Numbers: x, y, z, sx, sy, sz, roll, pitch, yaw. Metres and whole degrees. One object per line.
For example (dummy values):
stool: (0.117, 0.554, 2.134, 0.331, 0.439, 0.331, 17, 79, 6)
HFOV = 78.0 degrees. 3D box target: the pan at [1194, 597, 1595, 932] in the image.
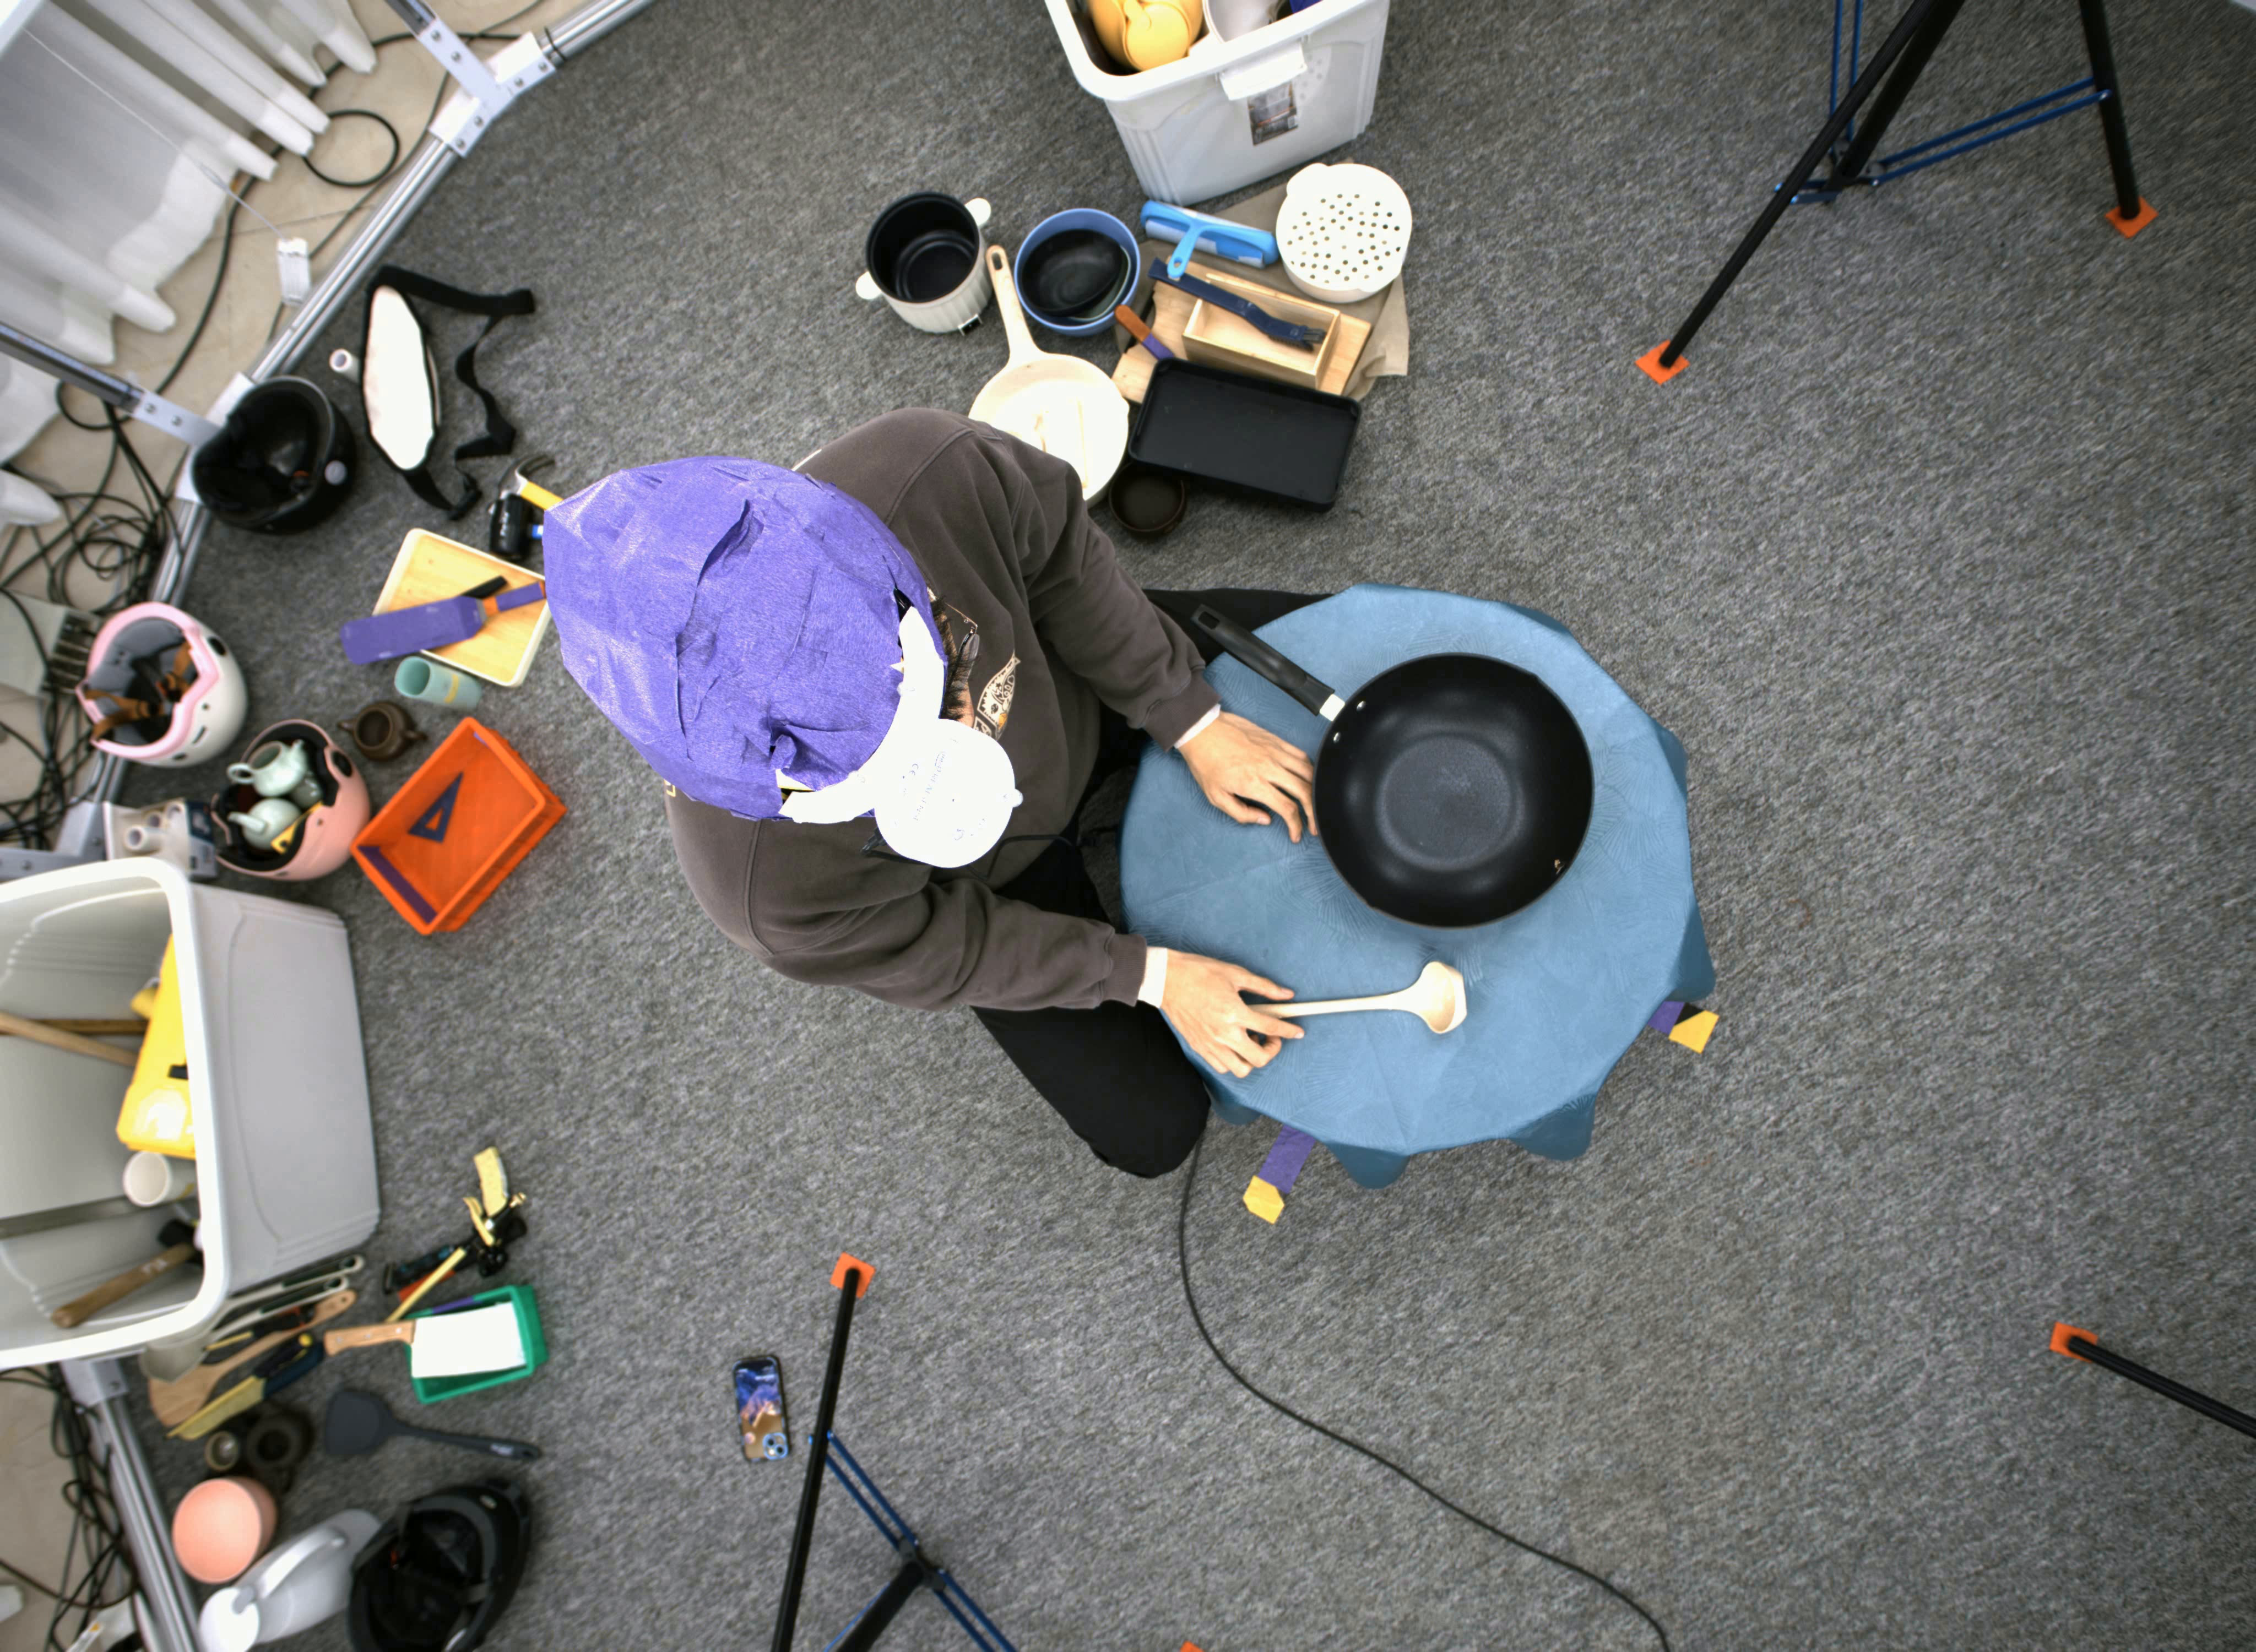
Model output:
pan: (0.257, -0.086, 1.426, 0.462, 0.087, 0.289, 37, 94, 11)

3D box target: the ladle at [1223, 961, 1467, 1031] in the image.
ladle: (0.219, 0.187, 1.425, 0.256, 0.072, 0.072, -9, 89, 10)
